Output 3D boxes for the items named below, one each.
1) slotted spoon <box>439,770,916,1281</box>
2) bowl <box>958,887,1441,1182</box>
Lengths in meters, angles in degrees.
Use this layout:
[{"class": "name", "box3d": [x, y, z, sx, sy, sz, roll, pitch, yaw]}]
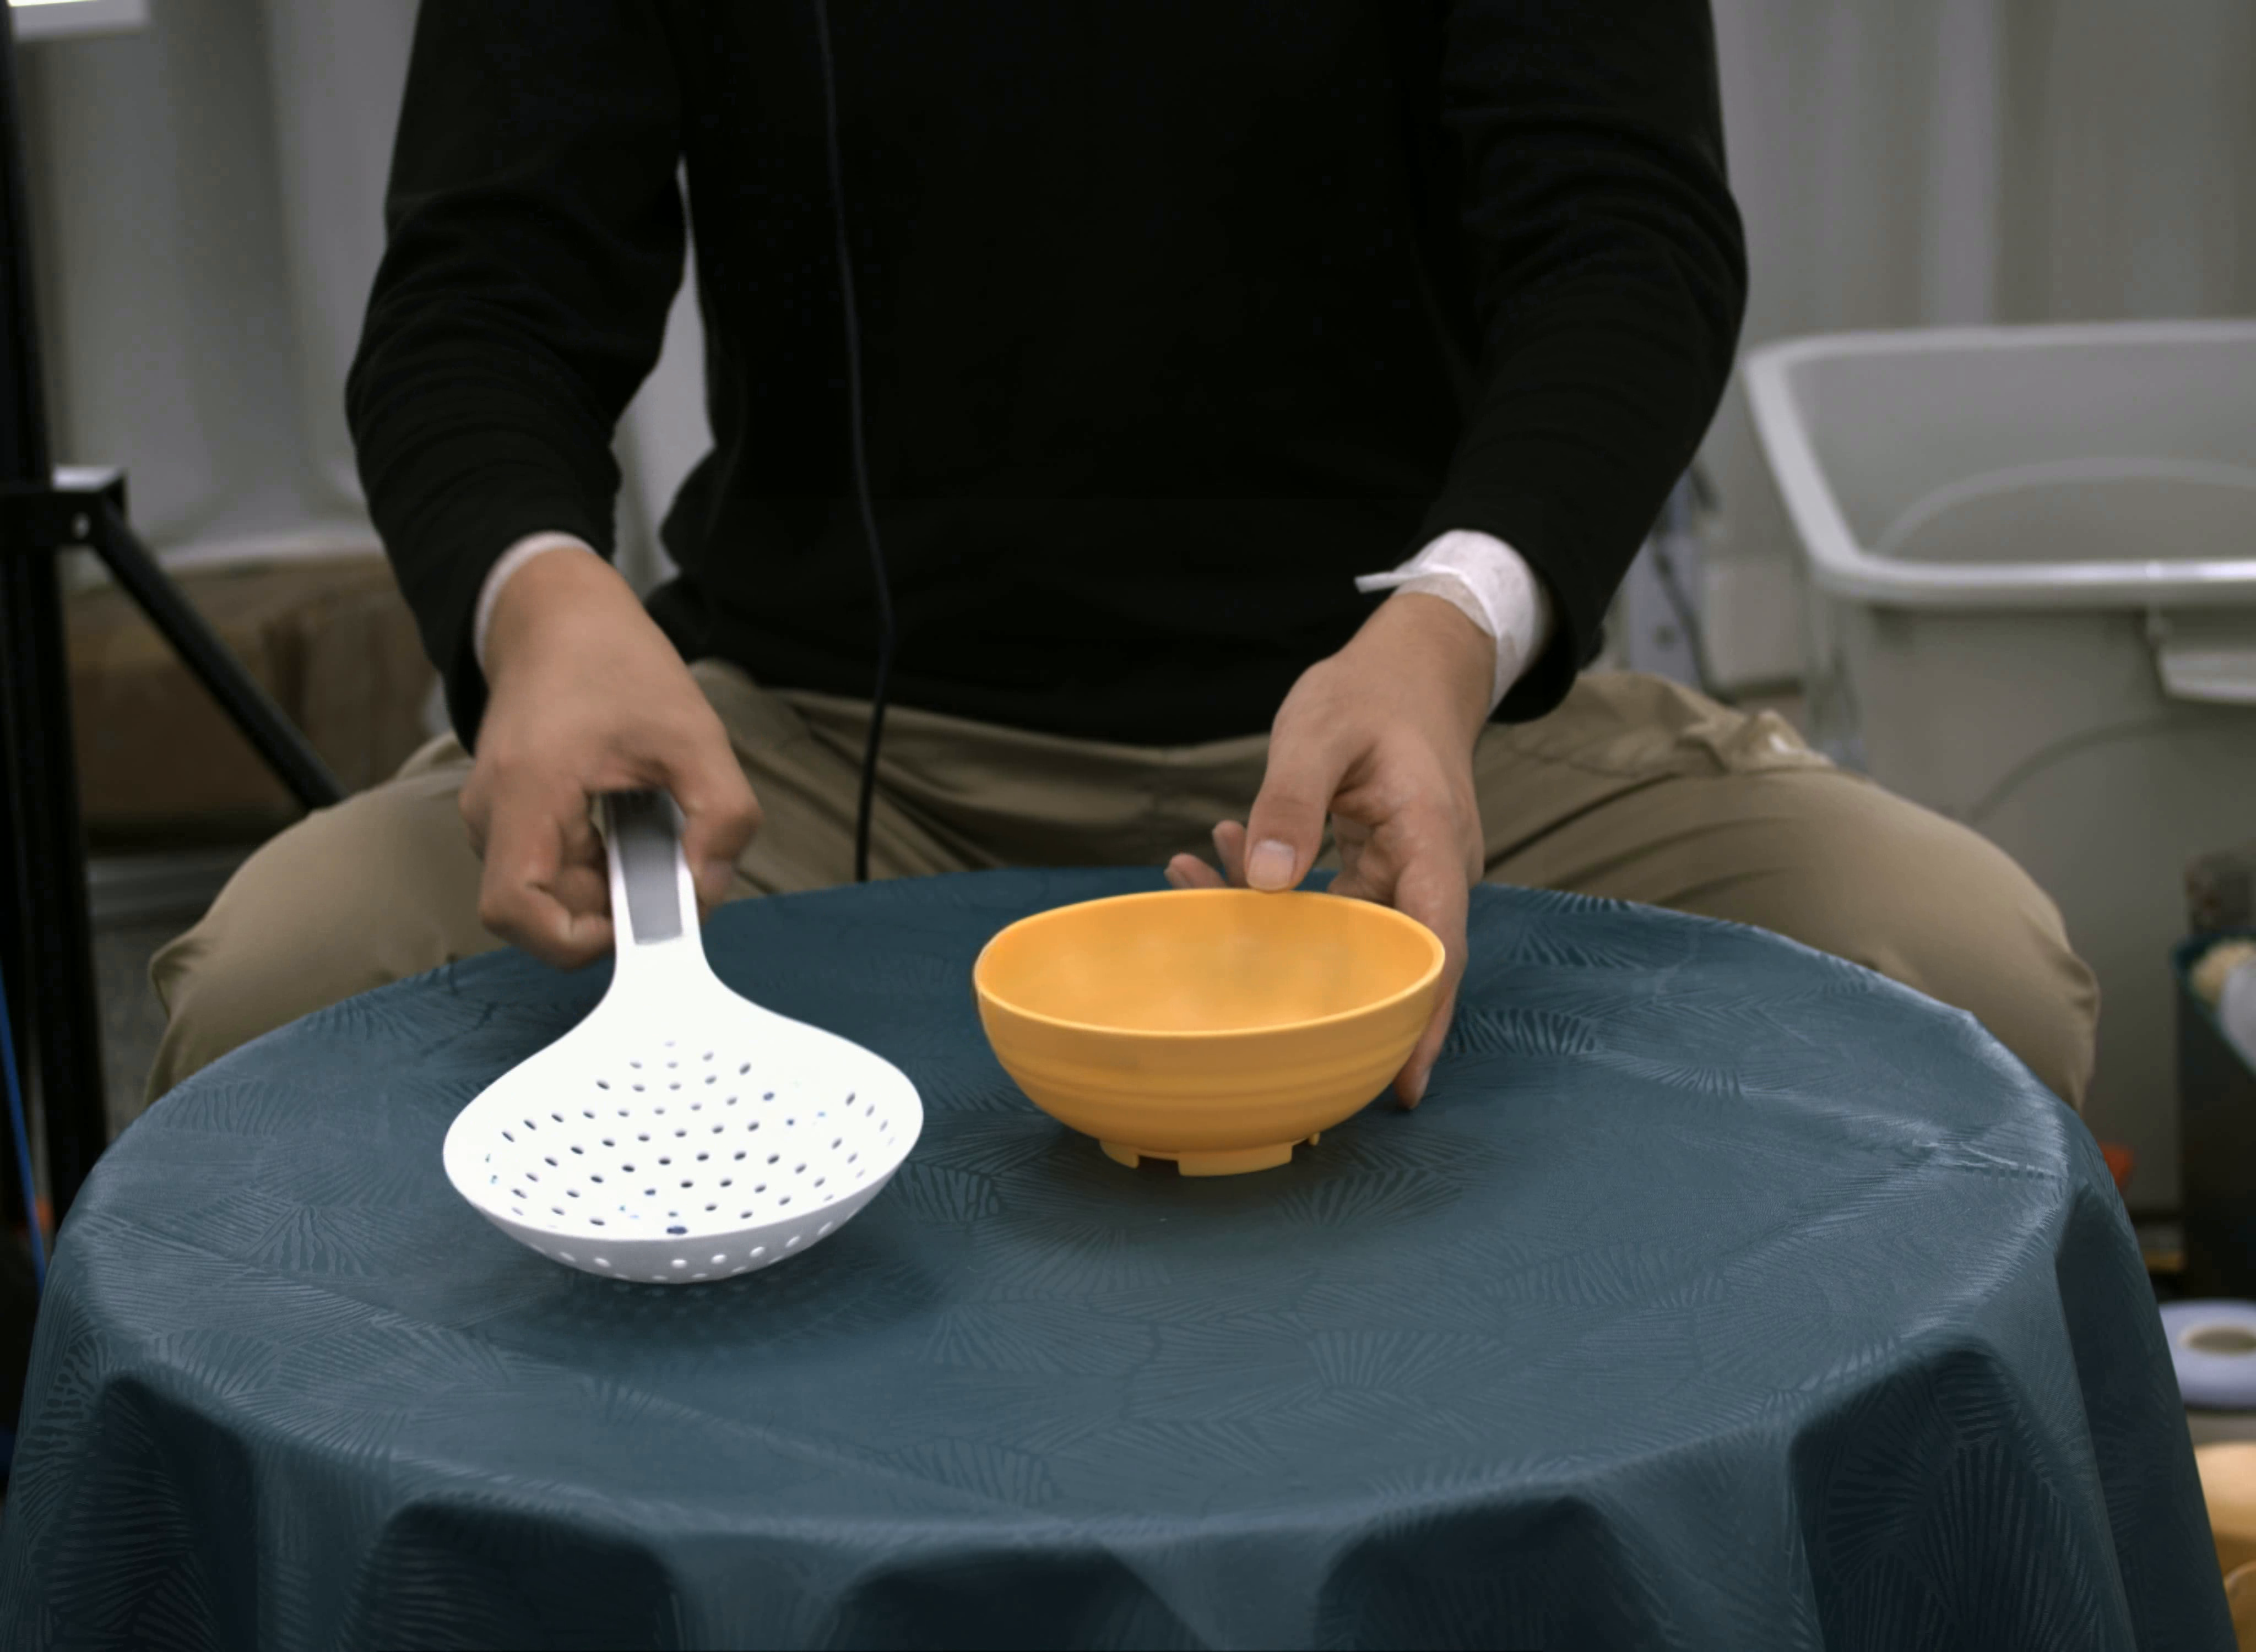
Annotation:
[{"class": "slotted spoon", "box3d": [-0.140, 0.052, 1.612, 0.135, 0.045, 0.354, -7, 27, -5]}, {"class": "bowl", "box3d": [0.022, 0.068, 1.593, 0.144, 0.060, 0.146, -1, 16, -1]}]
